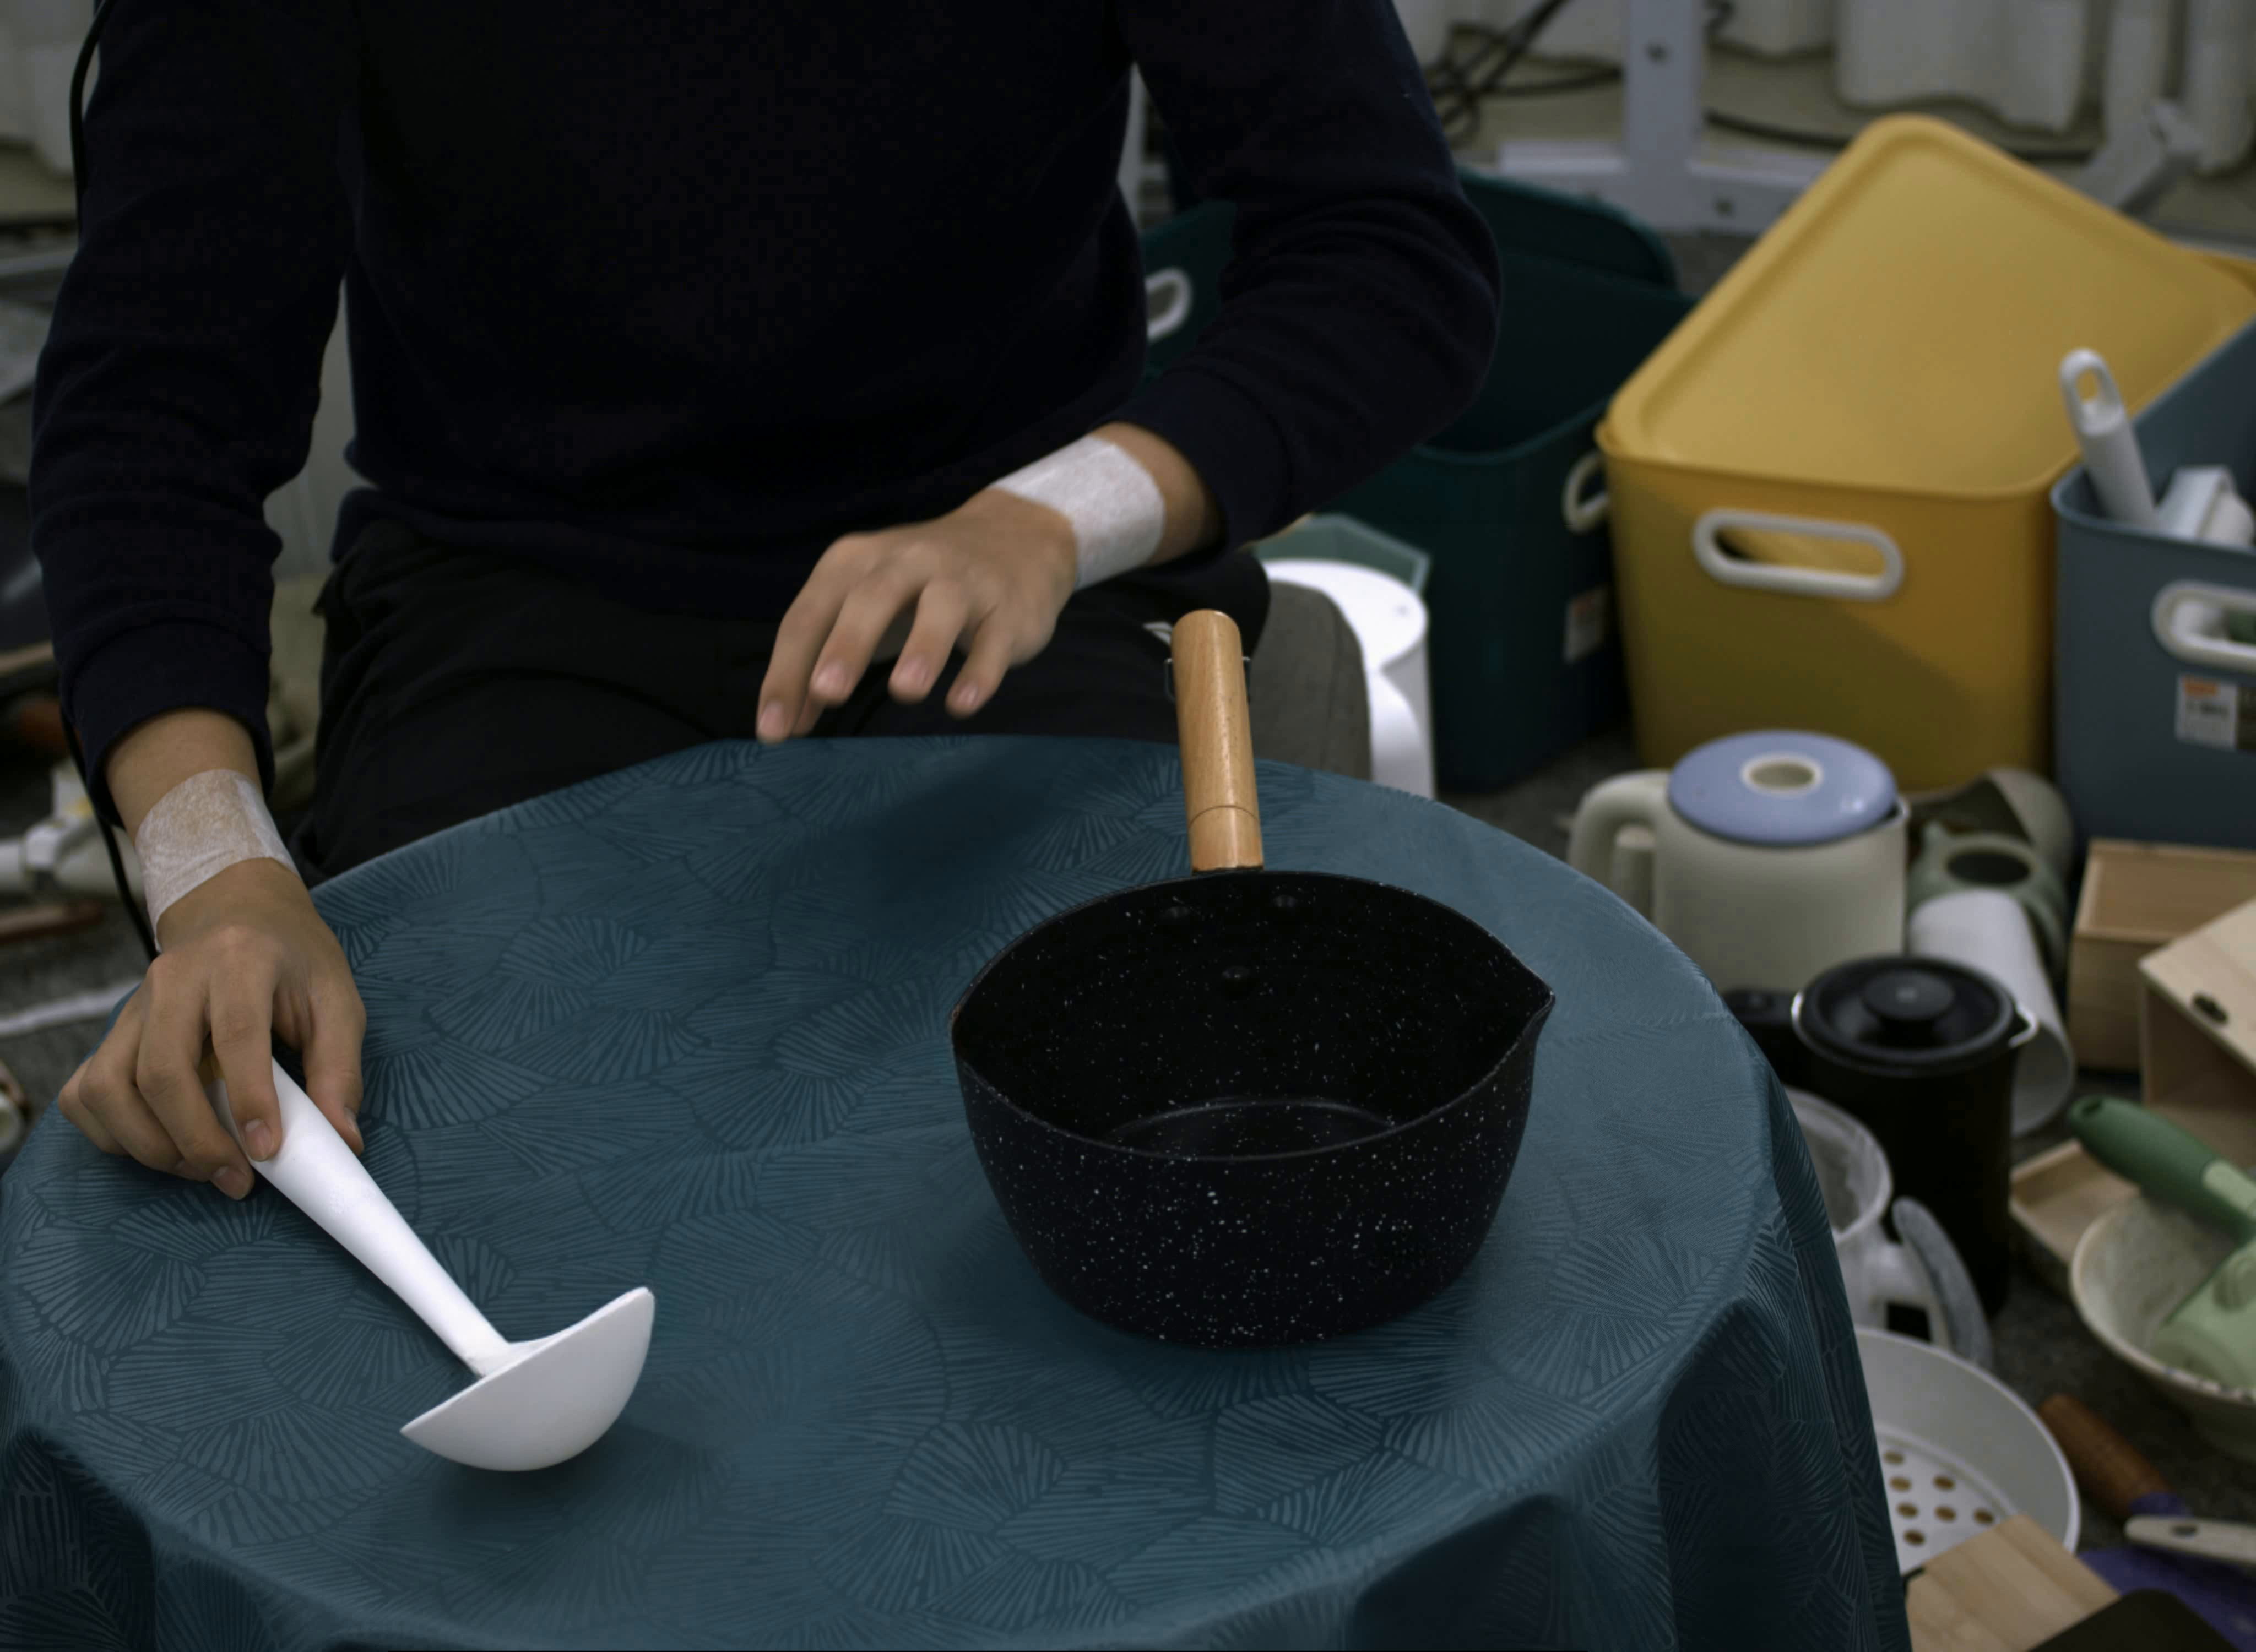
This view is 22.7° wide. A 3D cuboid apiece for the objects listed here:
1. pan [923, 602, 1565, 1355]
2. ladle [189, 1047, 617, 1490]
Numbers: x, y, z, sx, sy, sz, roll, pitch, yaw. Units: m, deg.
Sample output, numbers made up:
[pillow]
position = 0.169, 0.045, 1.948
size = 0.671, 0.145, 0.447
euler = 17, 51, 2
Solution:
[pan]
position = 0.035, 0.048, 1.885
size = 0.206, 0.107, 0.348
euler = -5, 29, -1
[ladle]
position = -0.245, 0.131, 1.805
size = 0.090, 0.069, 0.294
euler = -36, 36, -12
